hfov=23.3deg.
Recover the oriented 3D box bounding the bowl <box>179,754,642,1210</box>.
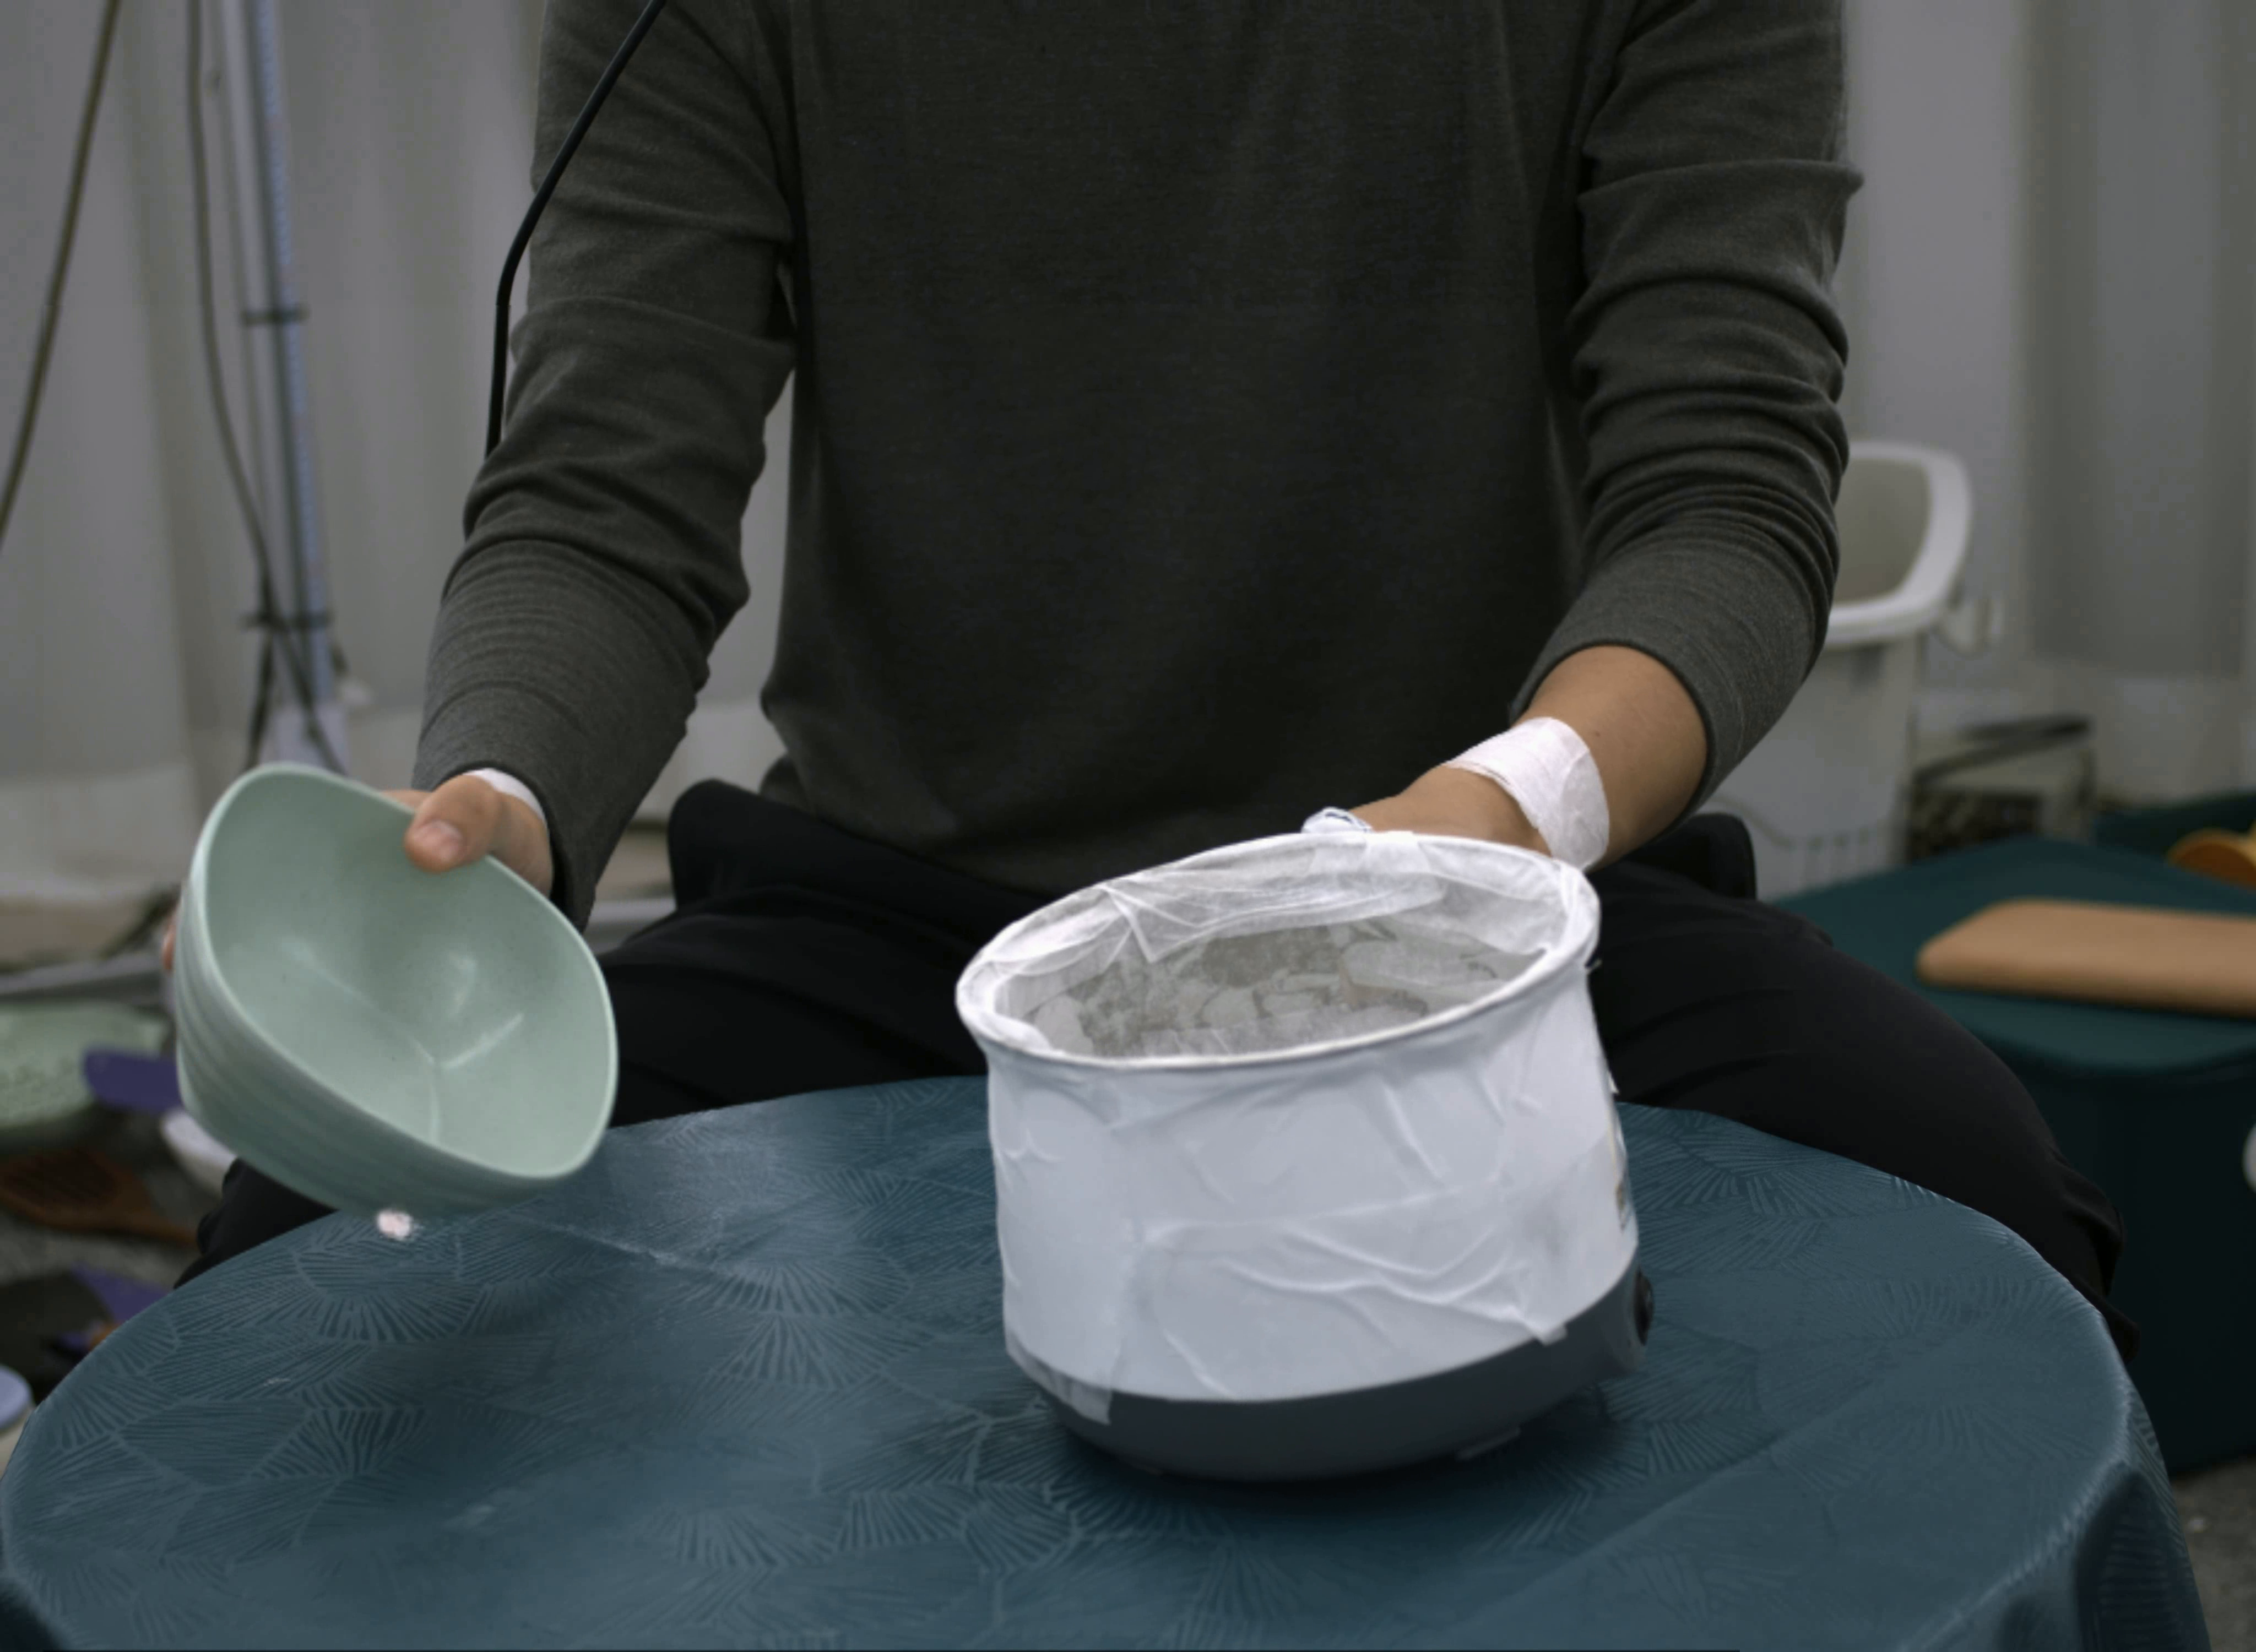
[{"bbox_3d":[-0.212,0.055,1.549,0.150,0.058,0.154,23,38,-20],"label":"bowl"}]

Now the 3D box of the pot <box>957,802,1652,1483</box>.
[{"bbox_3d":[0.054,0.082,1.529,0.178,0.136,0.235,-5,18,12],"label":"pot"}]
